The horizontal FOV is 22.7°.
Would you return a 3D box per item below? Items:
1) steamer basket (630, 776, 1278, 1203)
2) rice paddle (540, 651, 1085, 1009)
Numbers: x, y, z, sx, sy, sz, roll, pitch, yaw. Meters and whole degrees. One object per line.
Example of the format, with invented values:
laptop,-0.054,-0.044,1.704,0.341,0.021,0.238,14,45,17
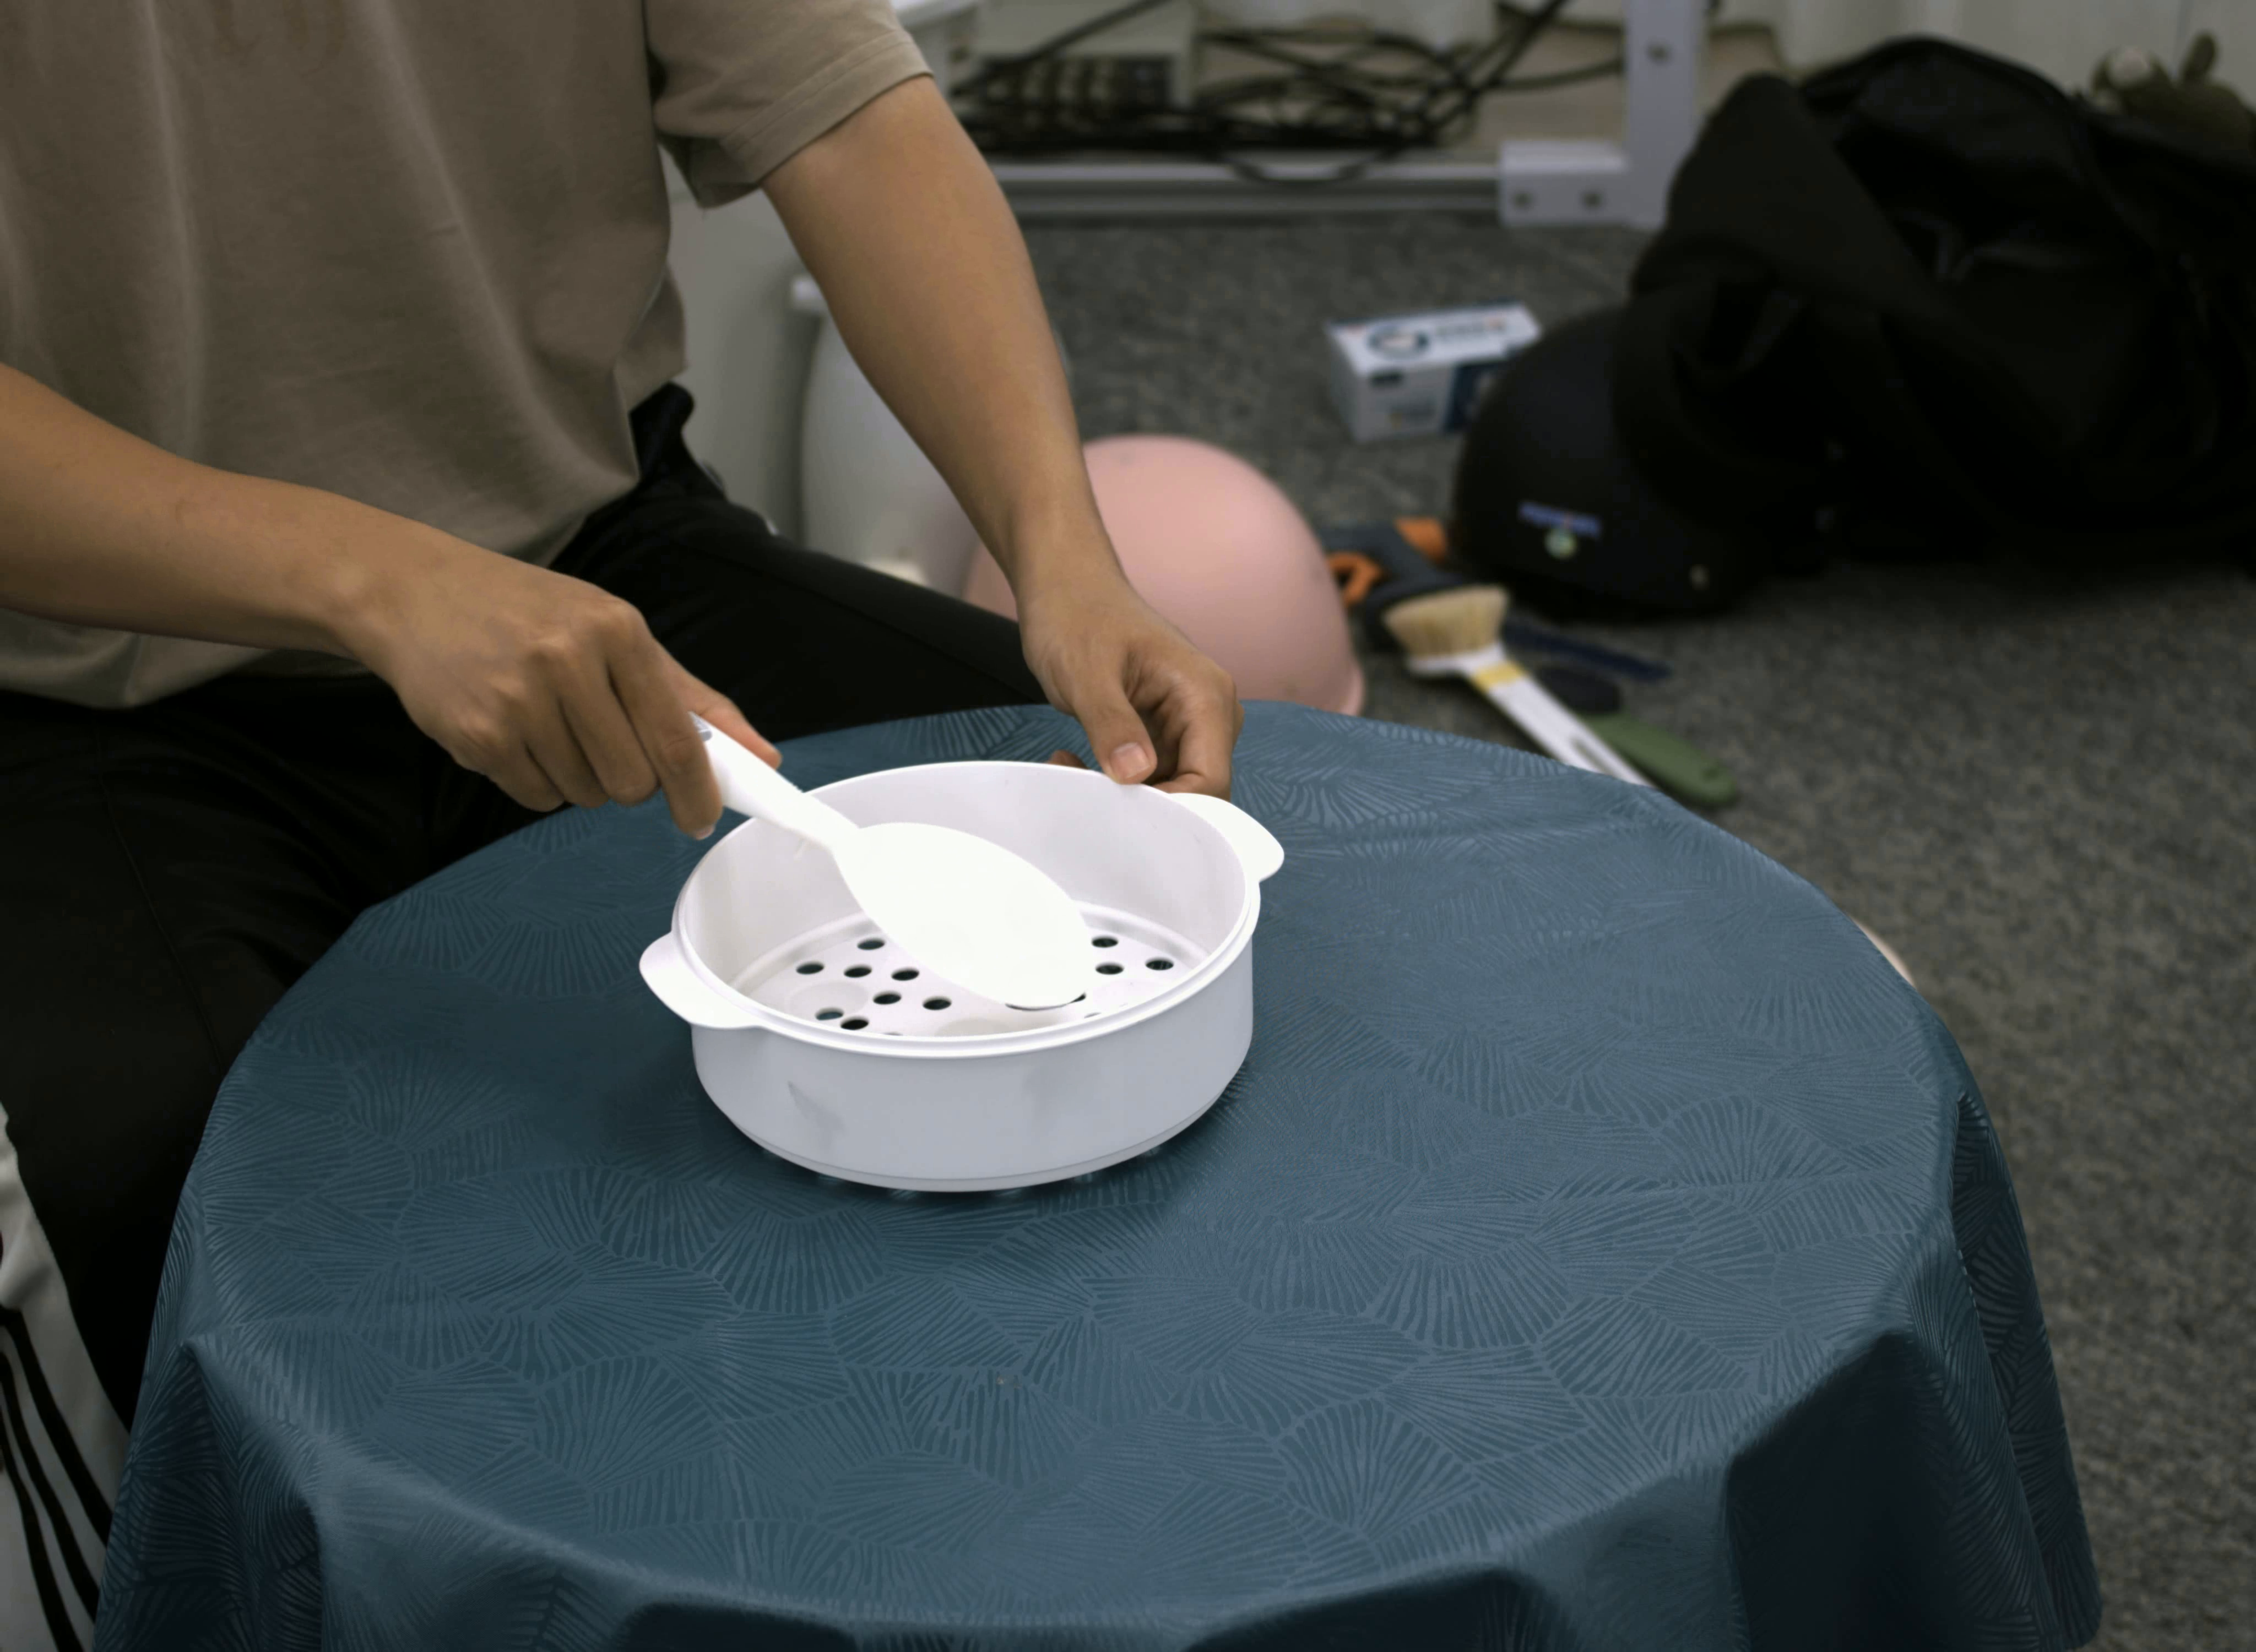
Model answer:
steamer basket,-0.058,0.057,1.924,0.231,0.068,0.203,-13,29,-24
rice paddle,-0.103,0.002,1.916,0.204,0.029,0.070,29,42,-4
